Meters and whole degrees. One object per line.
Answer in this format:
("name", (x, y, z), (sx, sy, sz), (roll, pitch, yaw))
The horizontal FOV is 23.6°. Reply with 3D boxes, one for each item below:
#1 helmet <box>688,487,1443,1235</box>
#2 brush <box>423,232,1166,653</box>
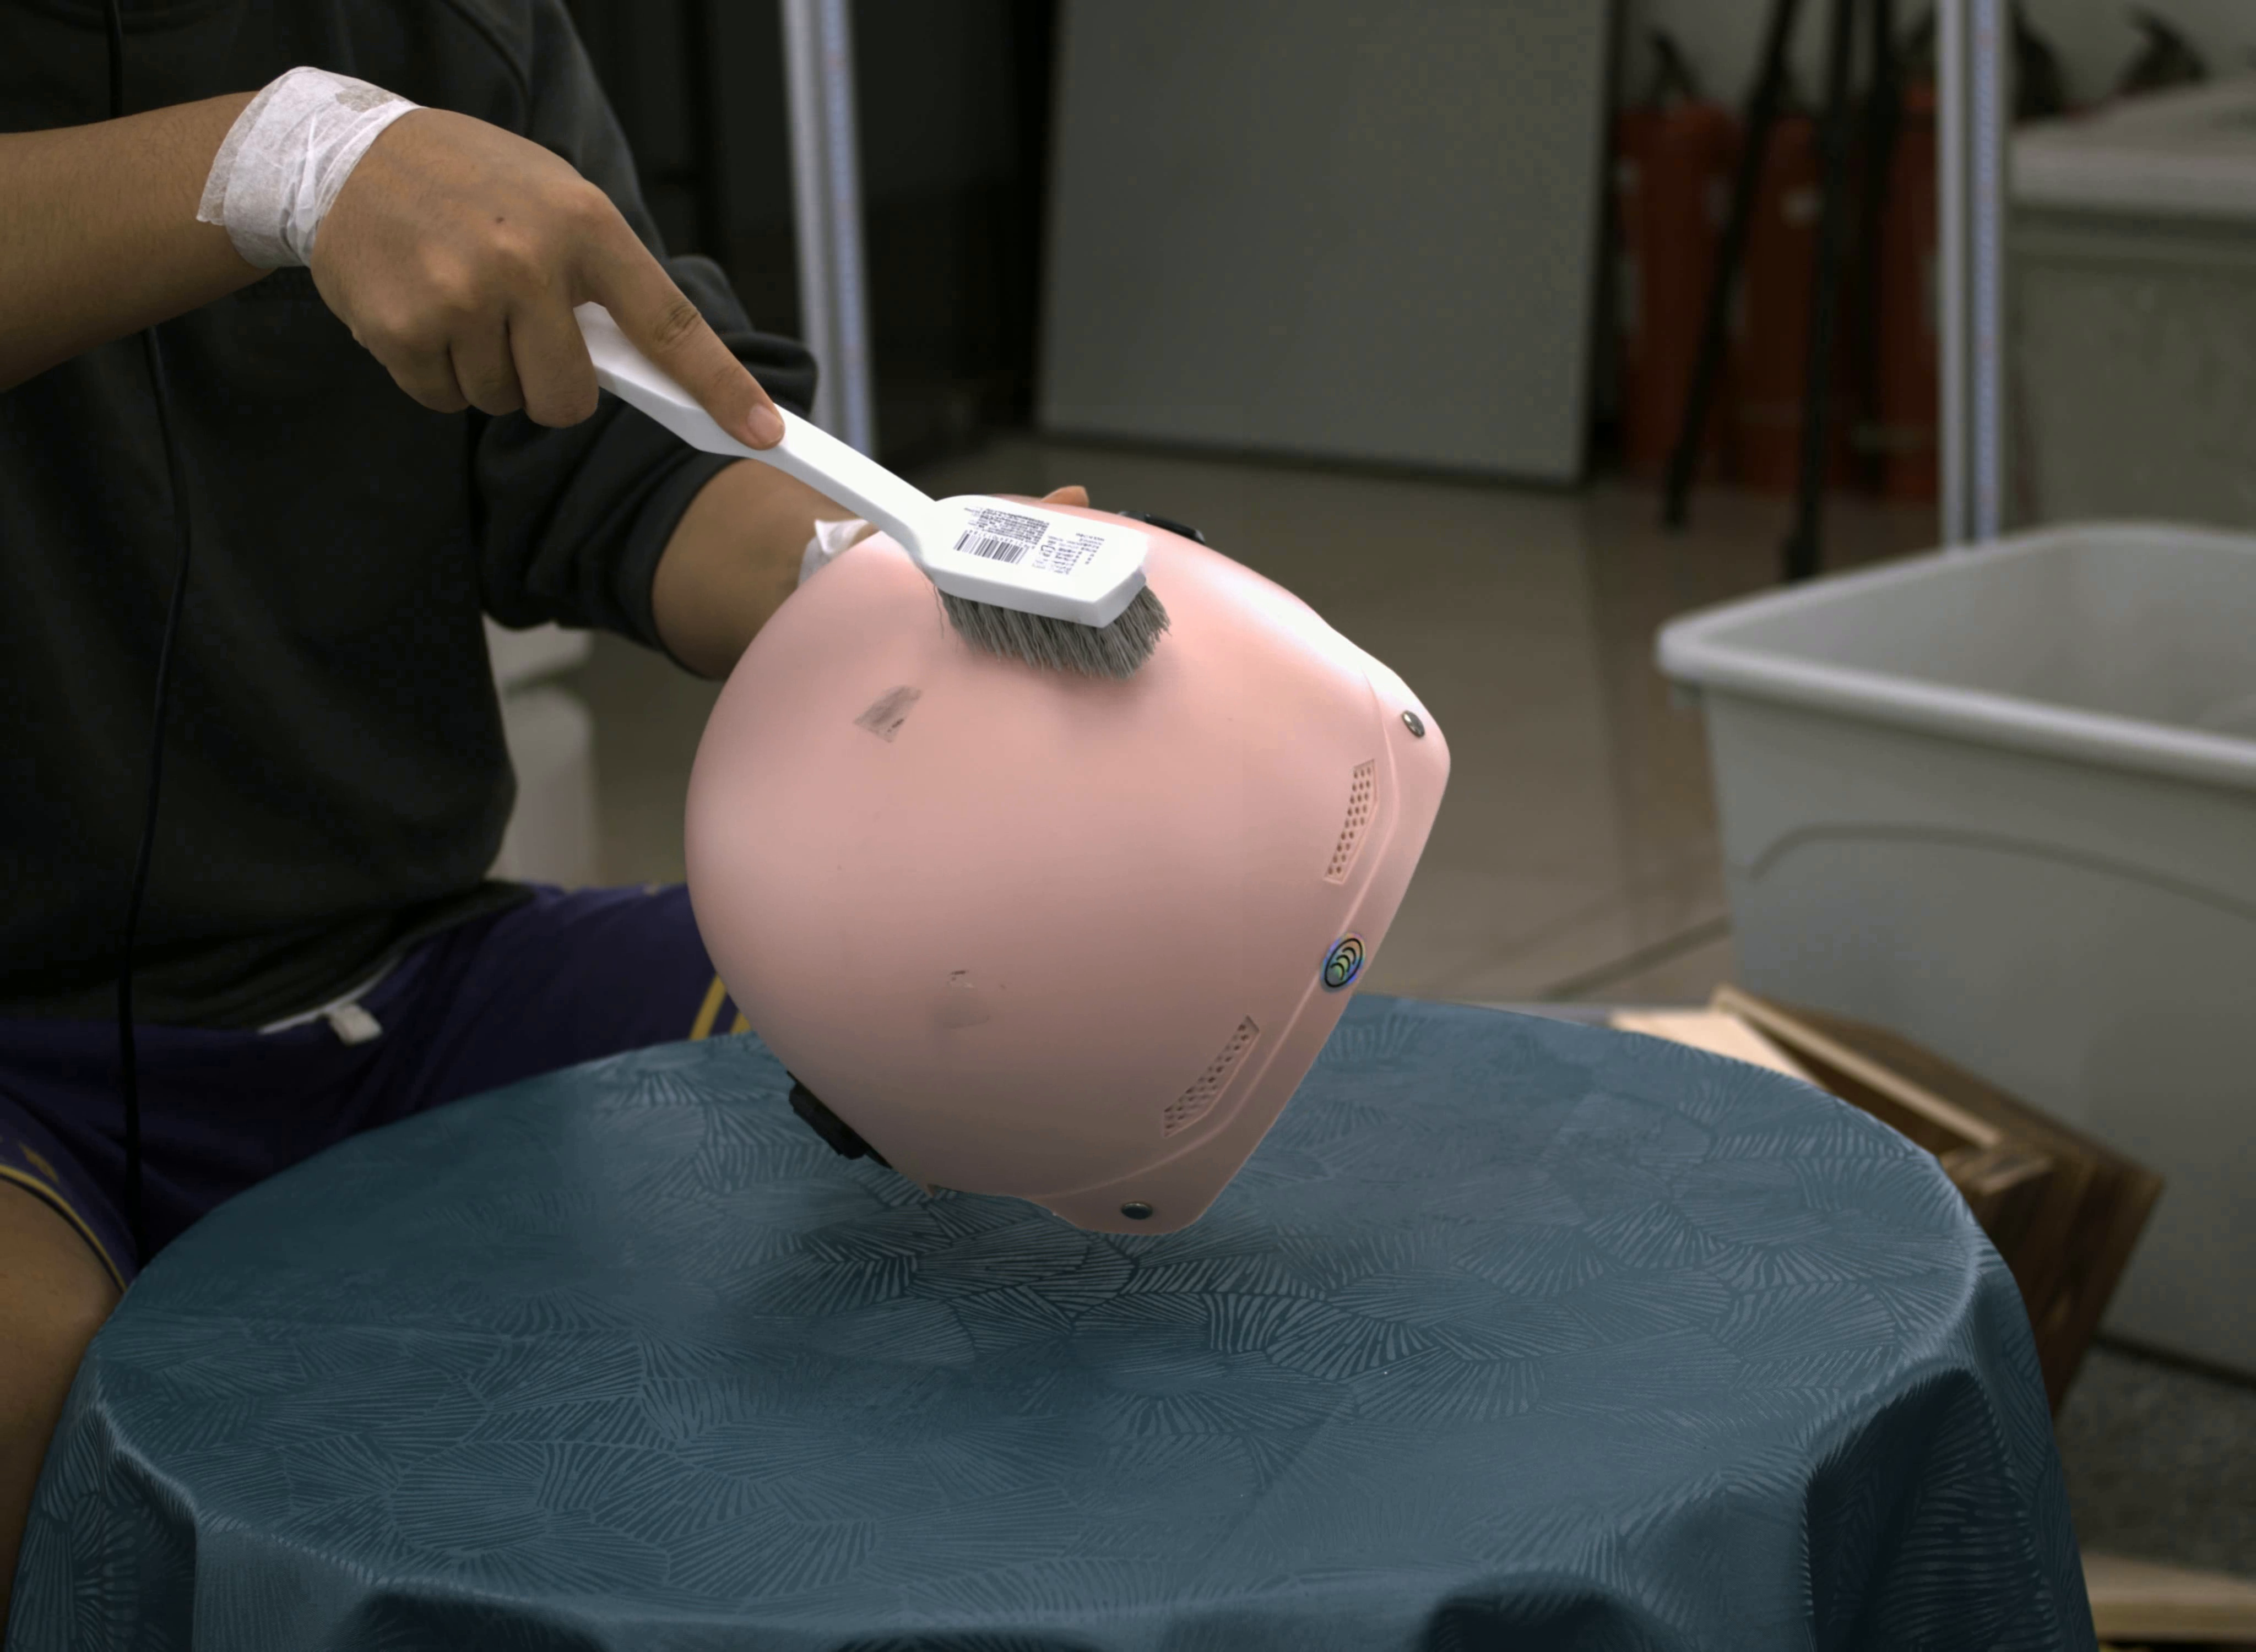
("helmet", (-0.046, -0.009, 1.680), (0.269, 0.235, 0.156), (21, -9, 47))
("brush", (-0.101, -0.111, 1.600), (0.243, 0.050, 0.034), (23, 51, 11))
